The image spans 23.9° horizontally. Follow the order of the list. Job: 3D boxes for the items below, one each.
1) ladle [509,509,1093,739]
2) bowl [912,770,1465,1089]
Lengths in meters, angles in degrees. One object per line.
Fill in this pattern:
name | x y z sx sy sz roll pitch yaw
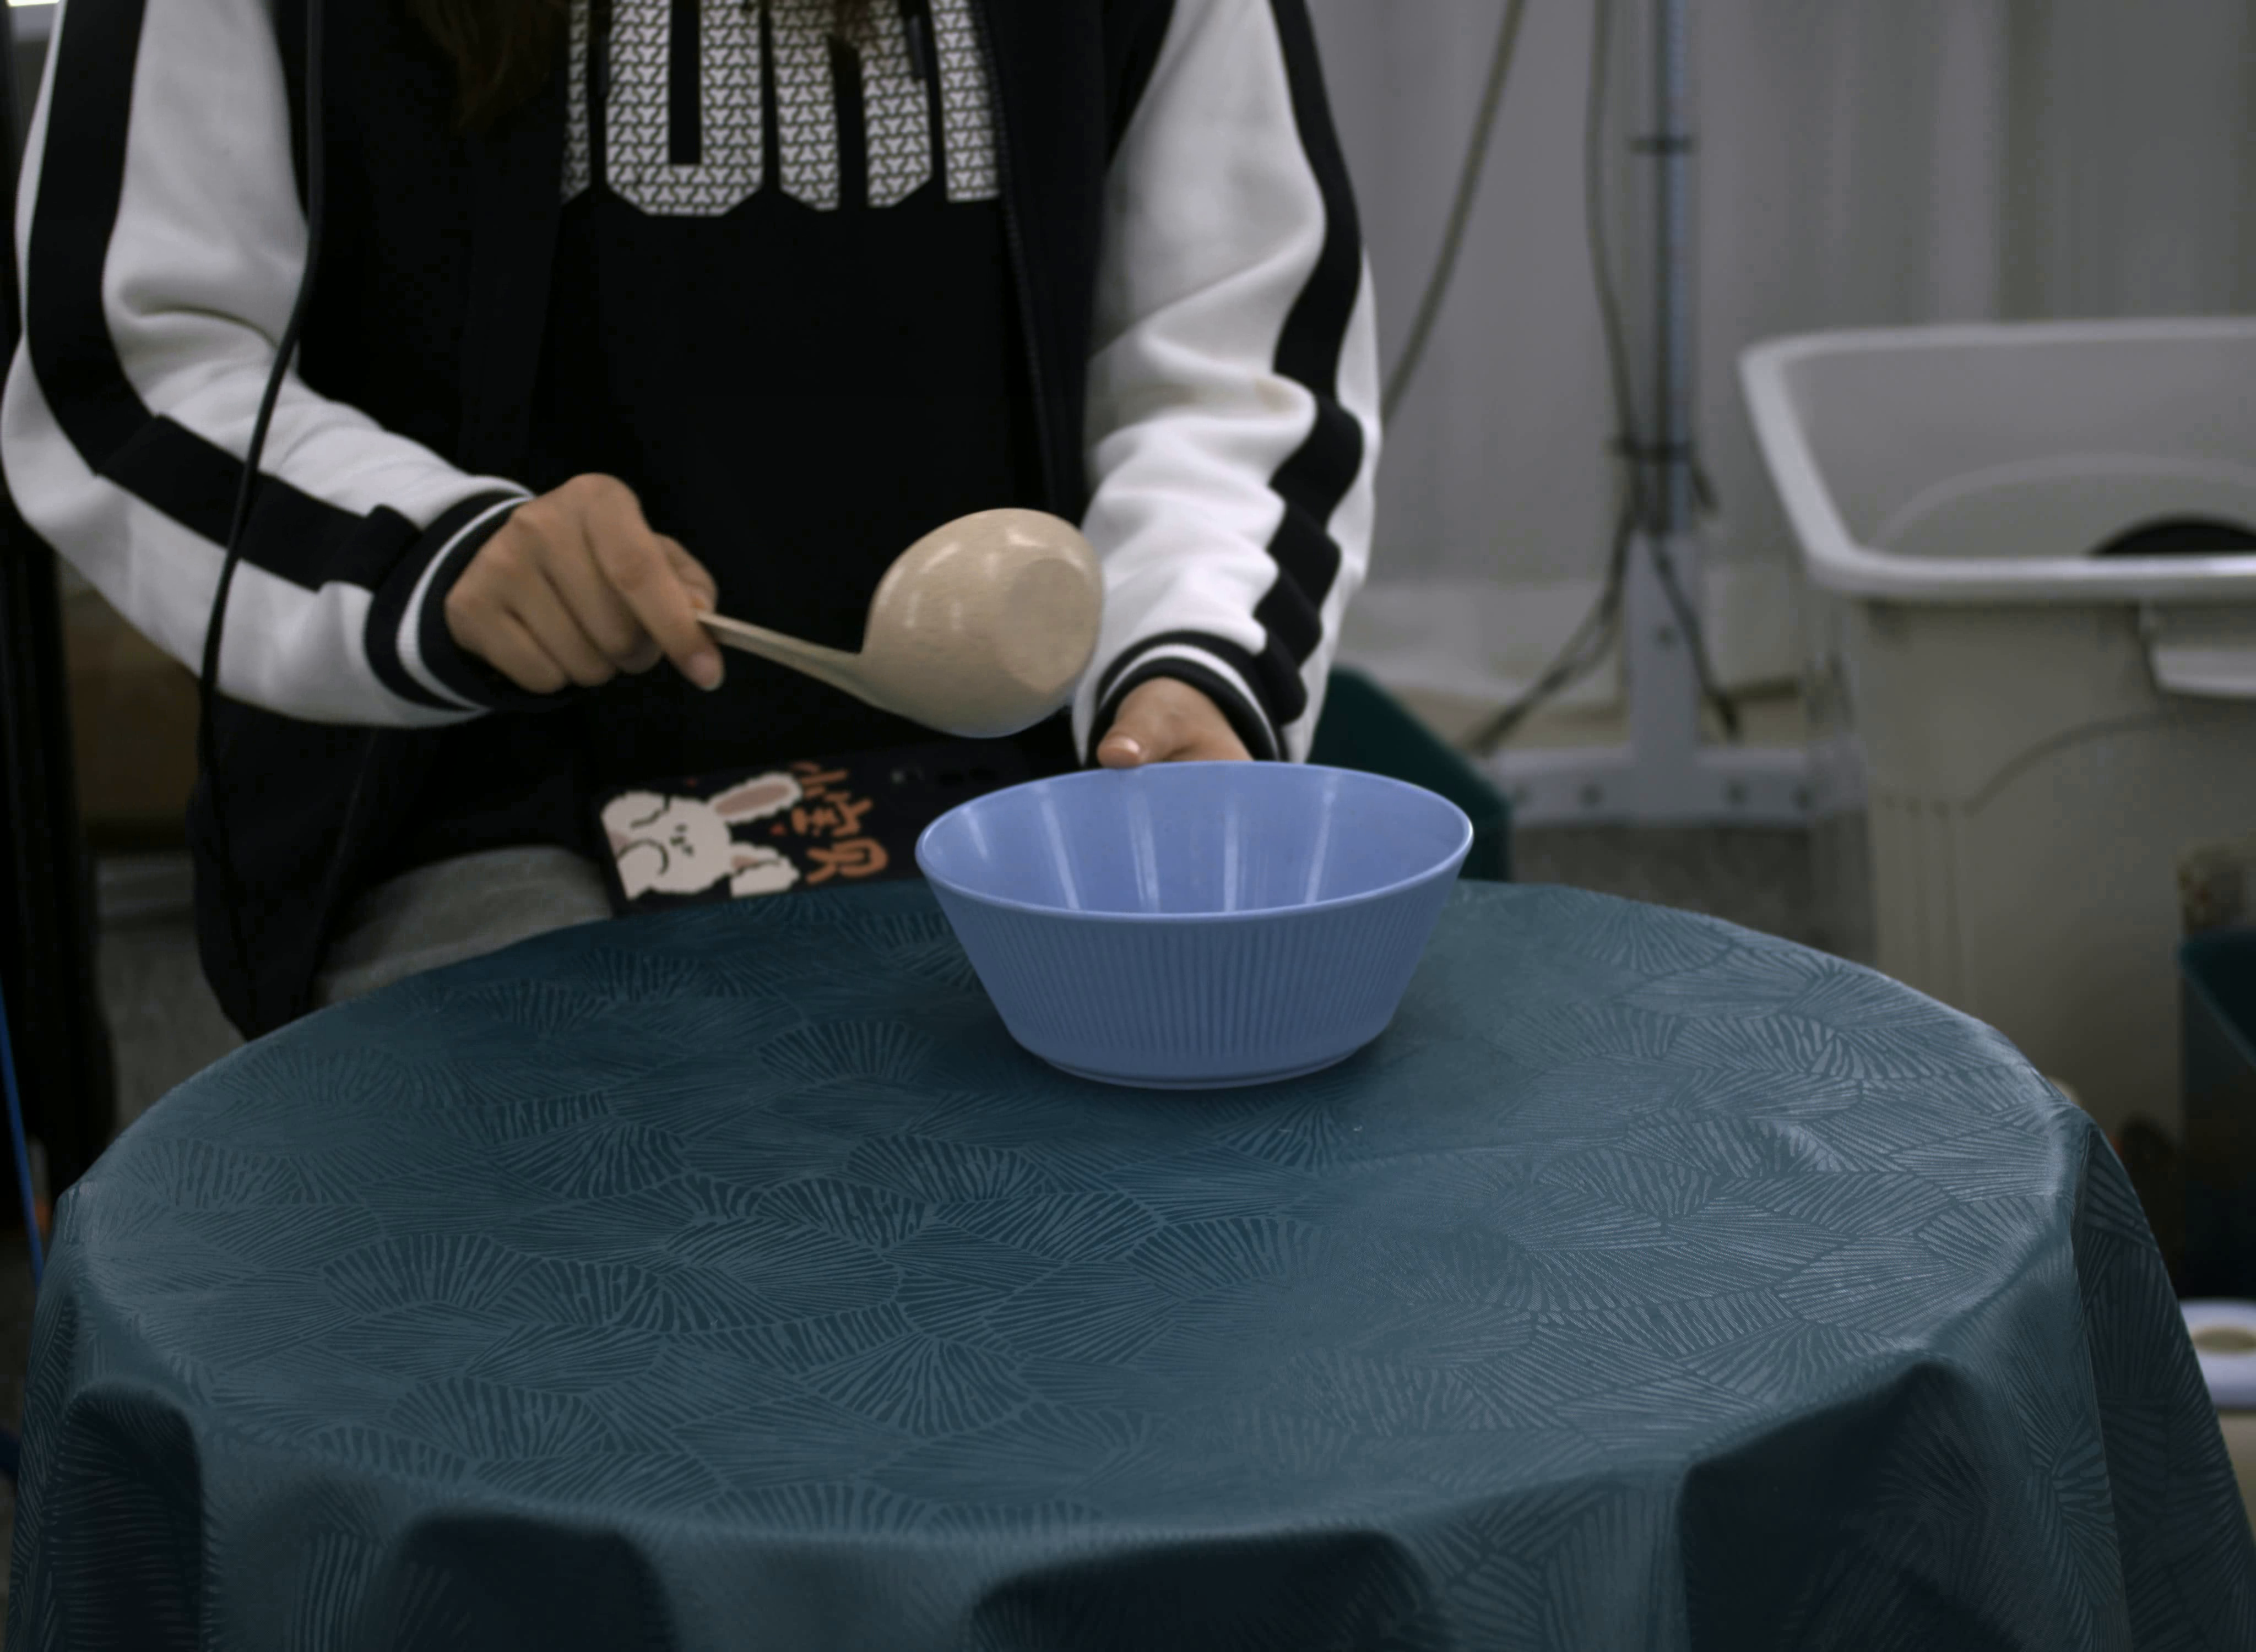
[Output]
ladle | -0.106 -0.080 1.698 0.260 0.071 0.072 17 63 51
bowl | 0.019 0.035 1.686 0.175 0.070 0.177 -2 15 -1
